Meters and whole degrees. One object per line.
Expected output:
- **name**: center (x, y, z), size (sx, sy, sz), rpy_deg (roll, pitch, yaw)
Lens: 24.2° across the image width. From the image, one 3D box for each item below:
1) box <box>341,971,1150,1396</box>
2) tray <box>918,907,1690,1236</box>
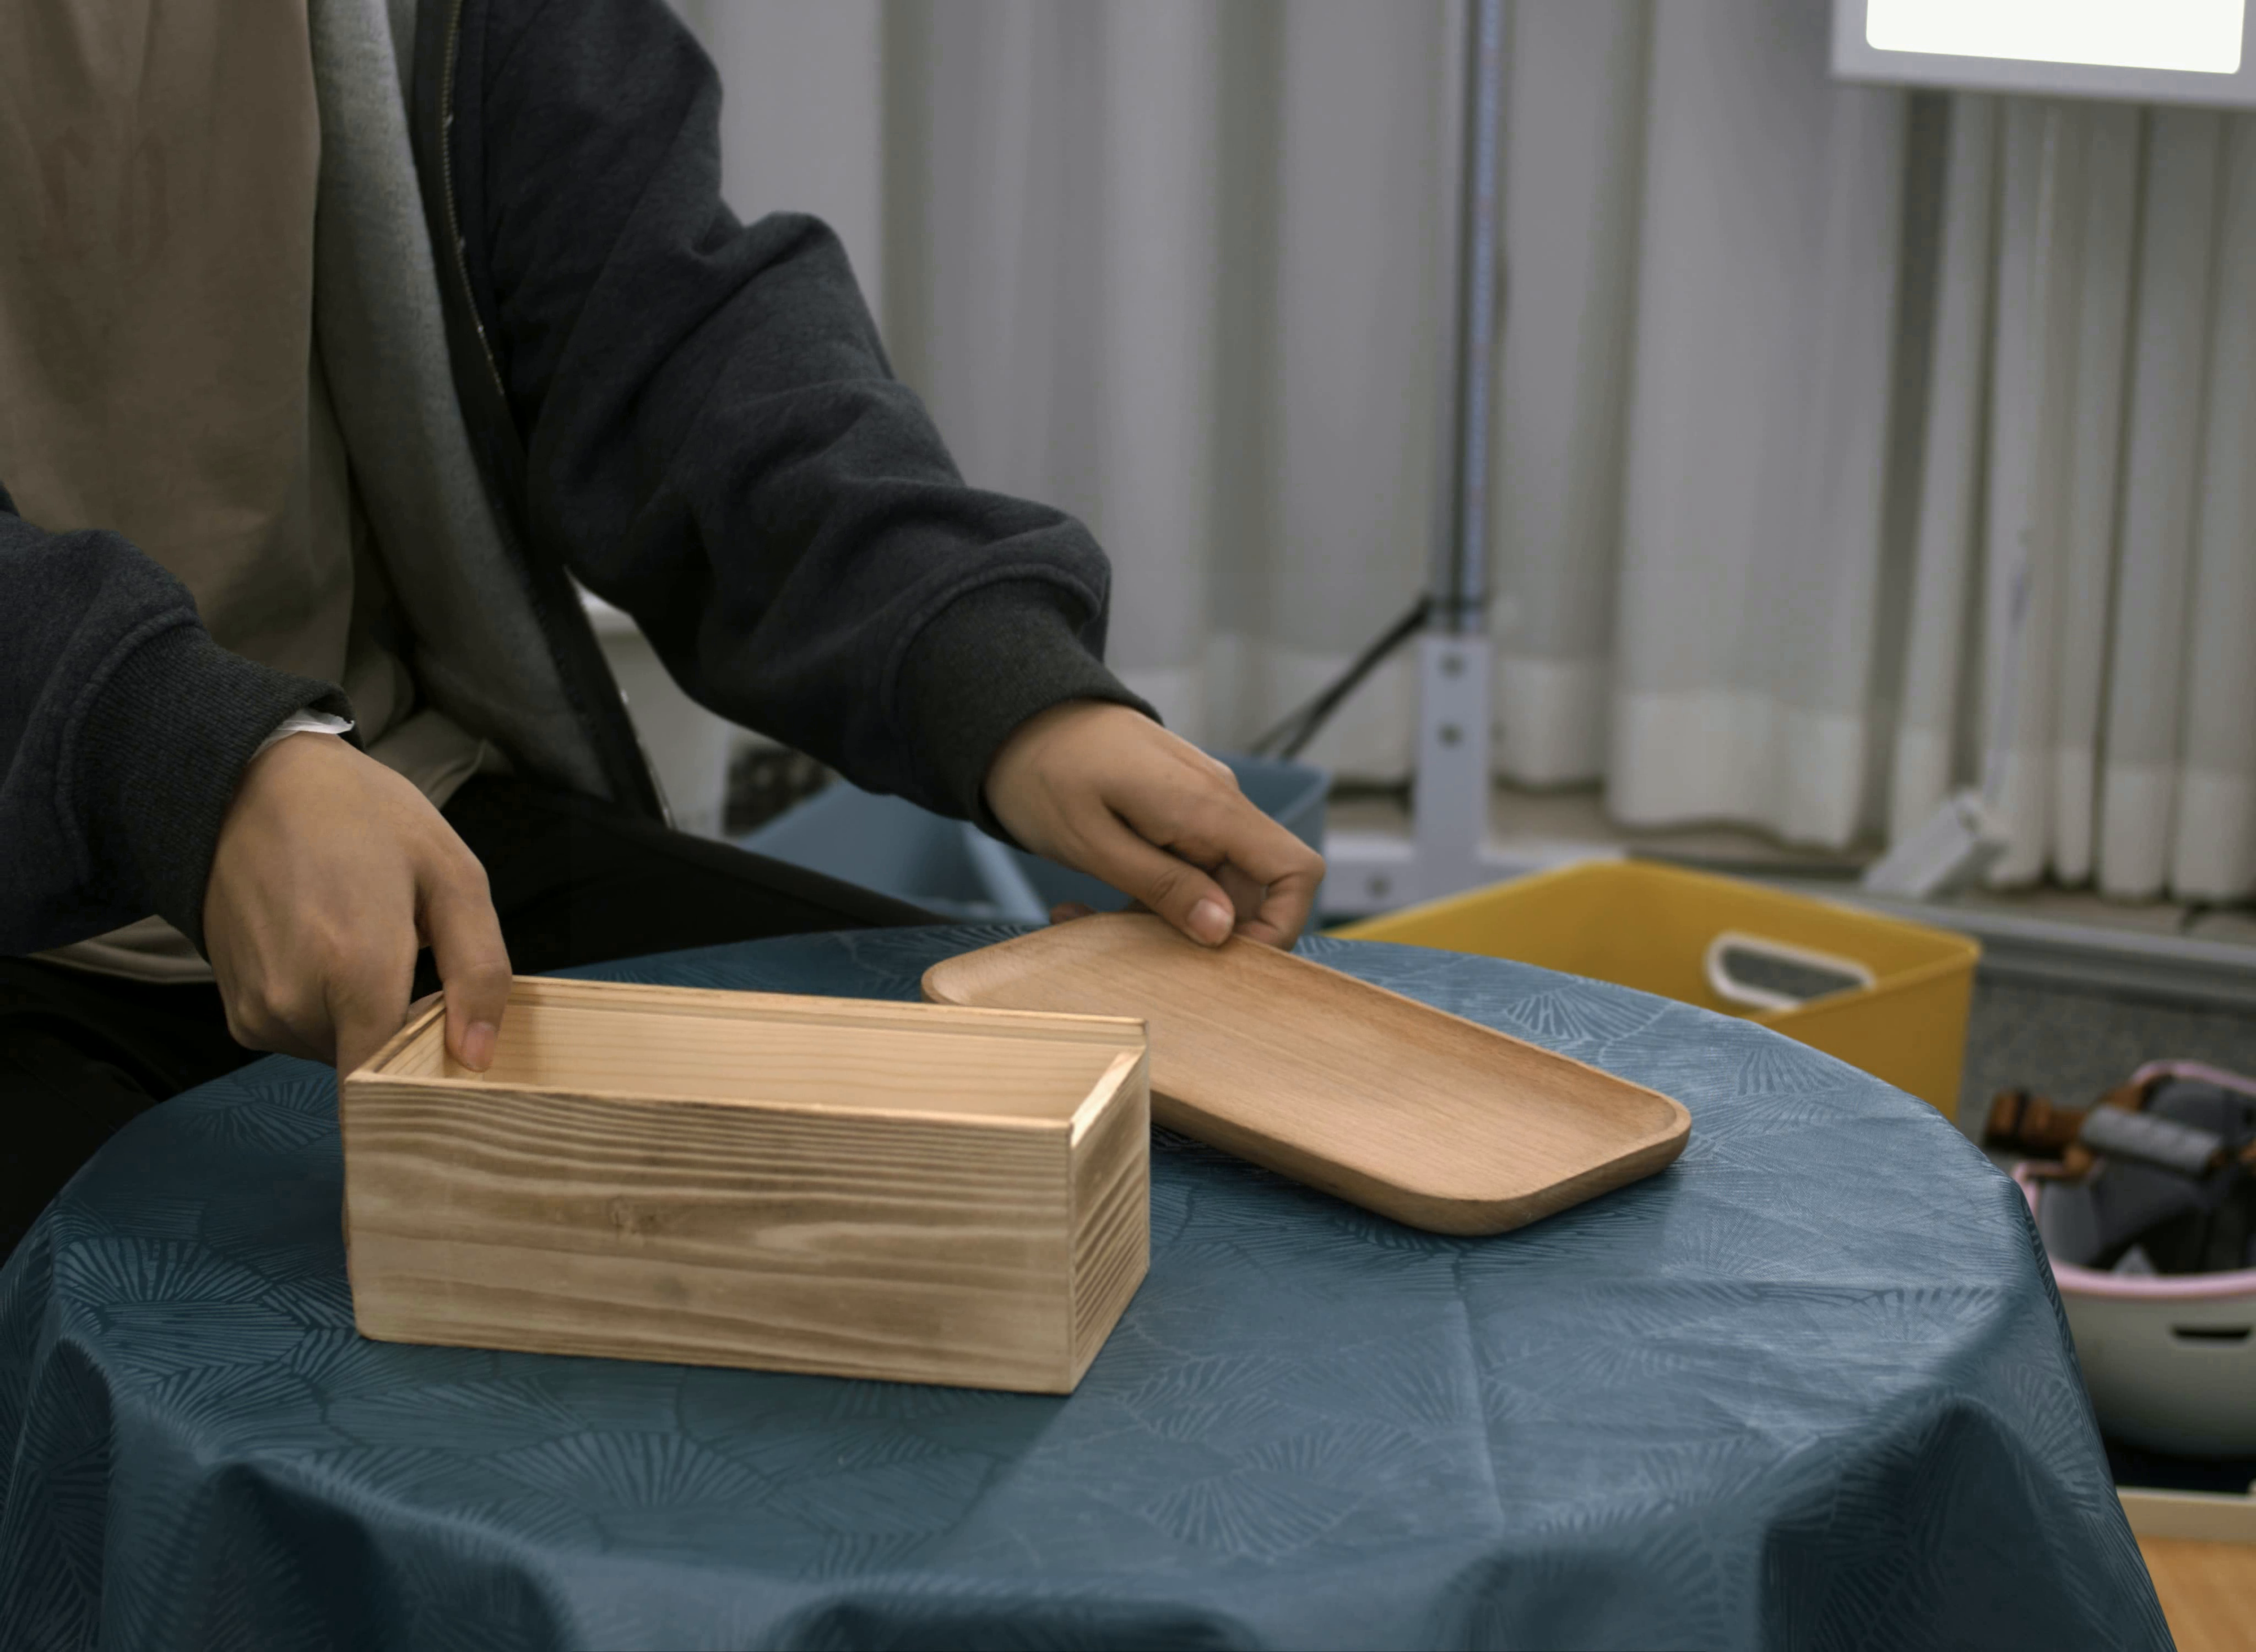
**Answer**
- **box**: center (-0.107, 0.100, 1.513), size (0.210, 0.081, 0.107), rpy_deg (4, 16, 11)
- **tray**: center (0.053, 0.076, 1.685), size (0.247, 0.023, 0.131), rpy_deg (20, 22, 39)
